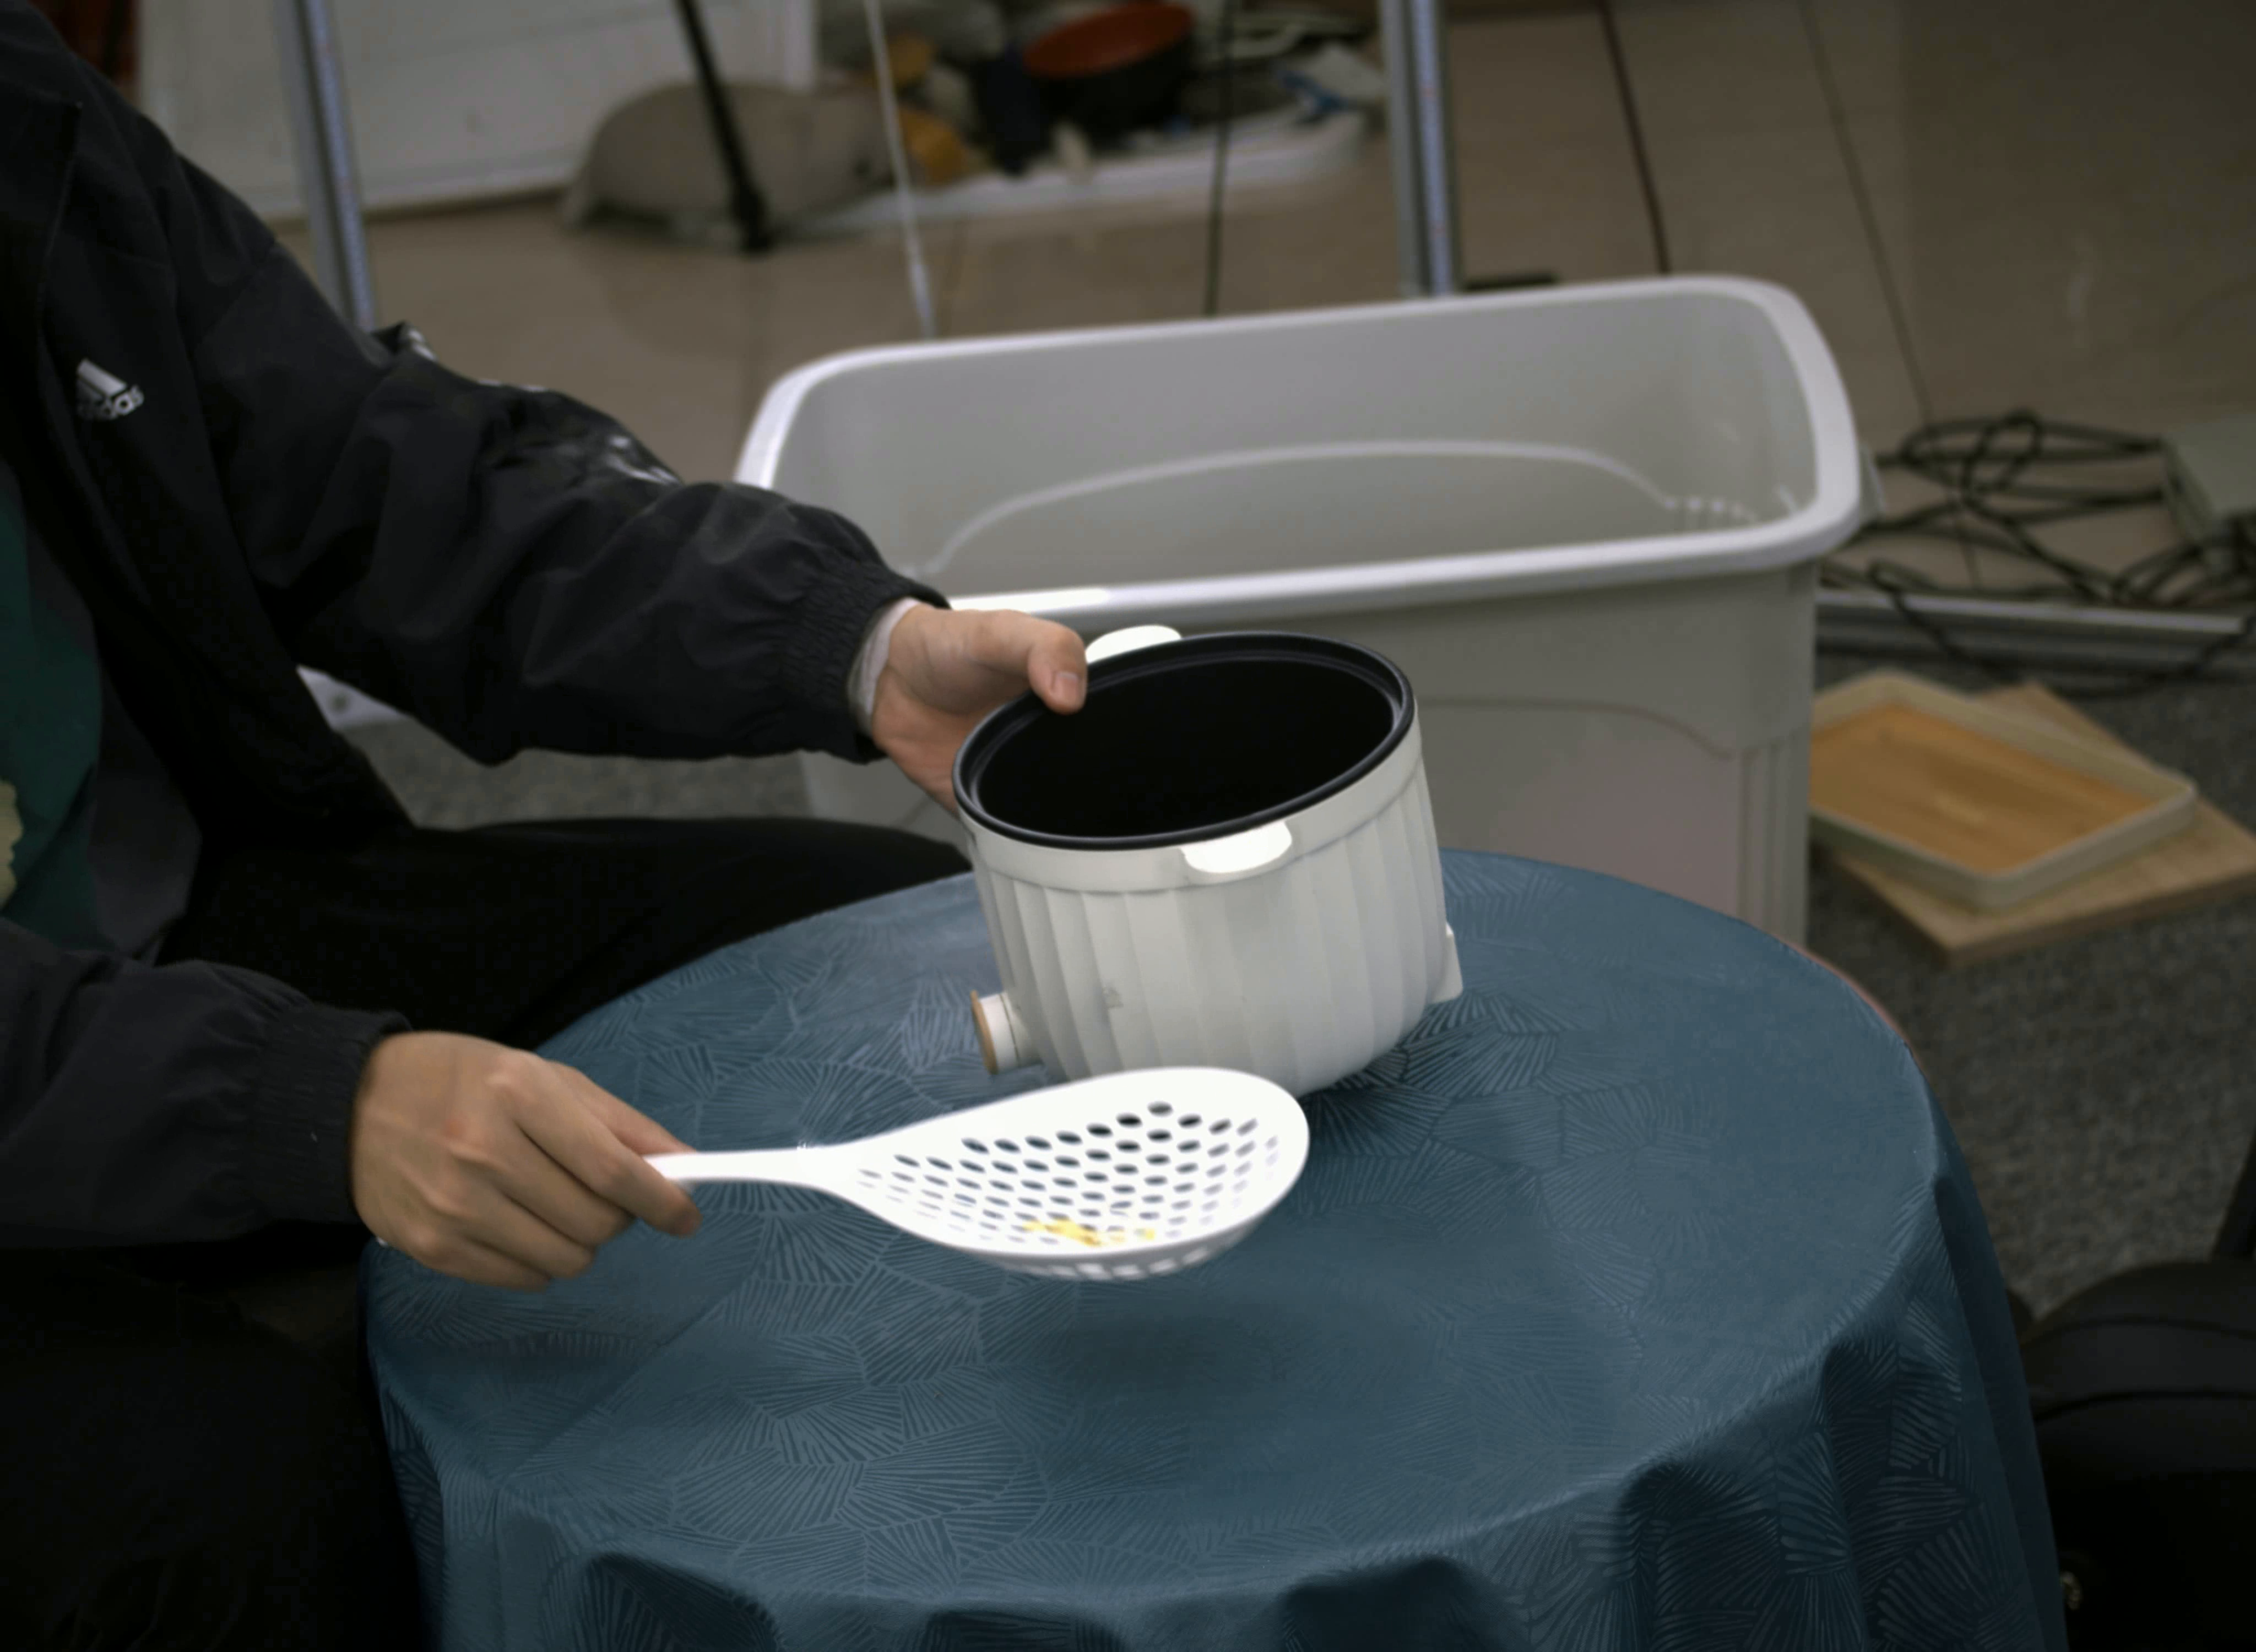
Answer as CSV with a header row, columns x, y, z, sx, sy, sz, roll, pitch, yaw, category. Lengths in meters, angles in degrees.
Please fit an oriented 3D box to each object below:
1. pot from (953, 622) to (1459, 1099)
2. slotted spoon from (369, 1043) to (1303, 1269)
x,y,z,sx,sy,sz,roll,pitch,yaw,category
0.027,0.024,2.195,0.190,0.145,0.237,-11,25,-7,pot
-0.108,0.129,2.034,0.347,0.051,0.135,0,27,12,slotted spoon
